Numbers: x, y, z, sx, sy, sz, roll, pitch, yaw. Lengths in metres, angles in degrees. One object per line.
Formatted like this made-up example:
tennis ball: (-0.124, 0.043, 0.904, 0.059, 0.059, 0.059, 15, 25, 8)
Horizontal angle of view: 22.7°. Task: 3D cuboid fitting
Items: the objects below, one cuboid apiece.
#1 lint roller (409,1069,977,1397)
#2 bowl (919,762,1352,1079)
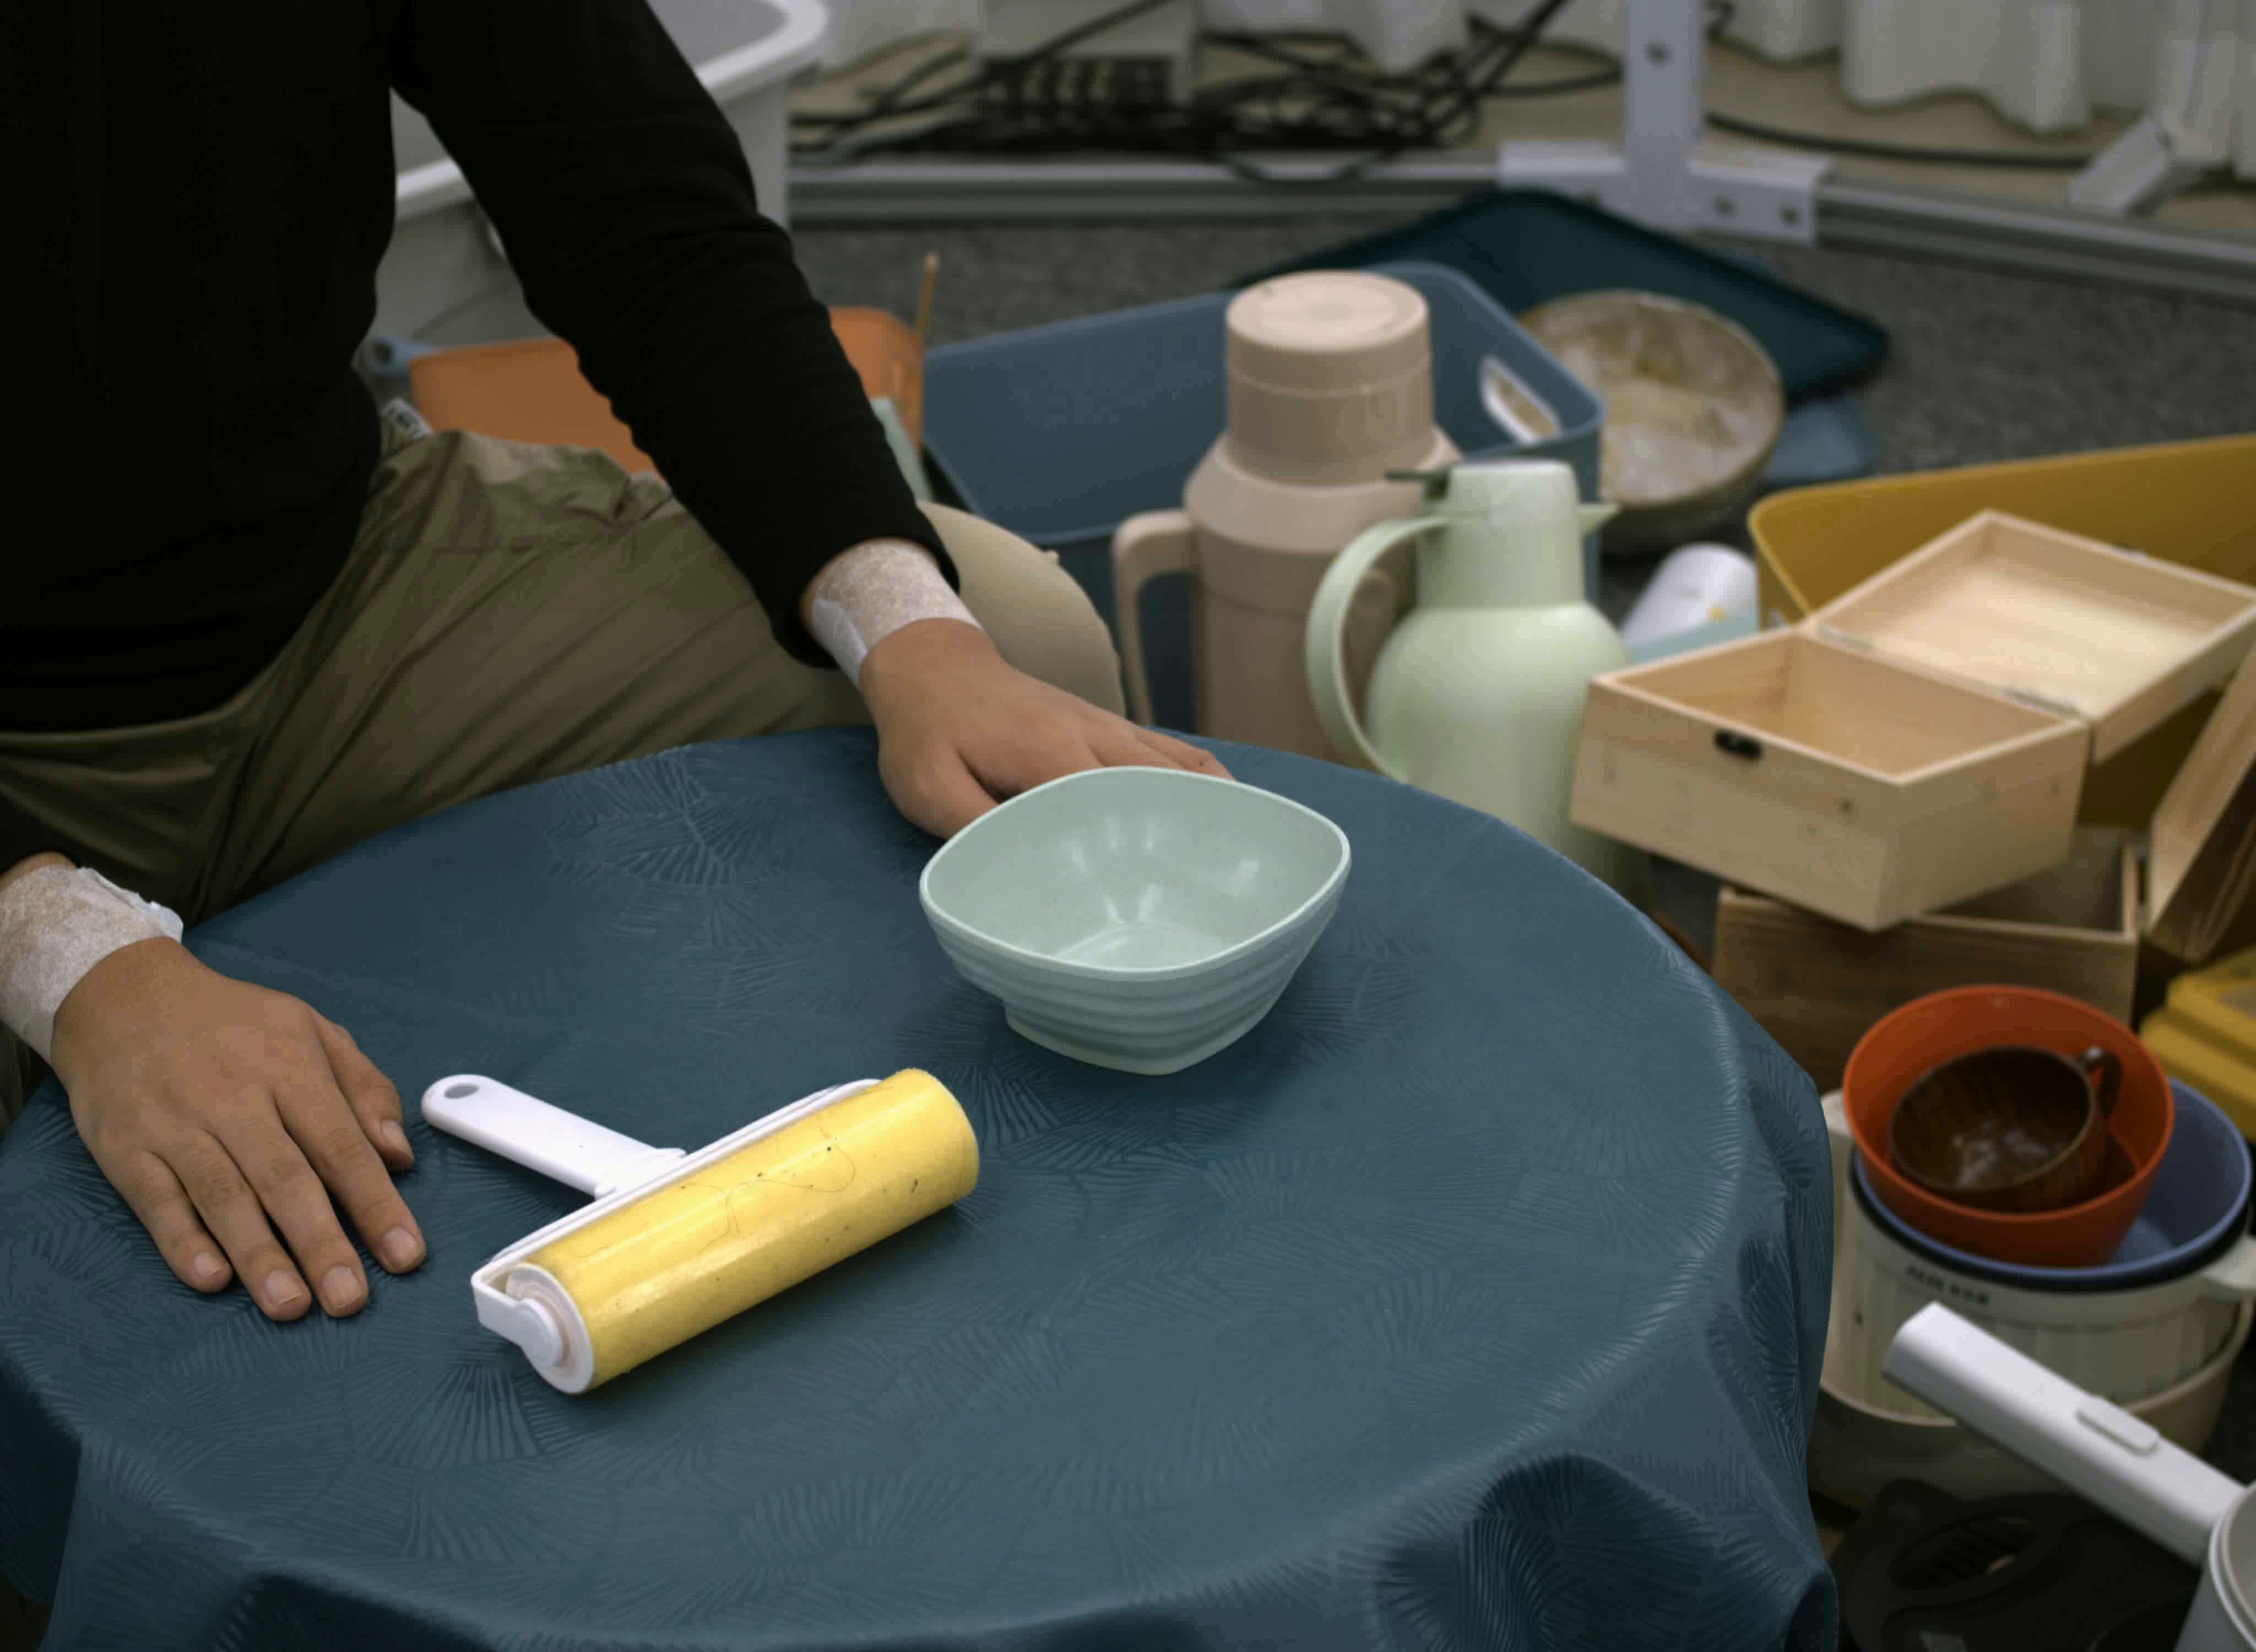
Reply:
lint roller: (-0.173, 0.106, 1.851, 0.176, 0.051, 0.192, -26, 40, -38)
bowl: (0.004, 0.039, 1.960, 0.151, 0.058, 0.154, -2, 29, 1)
